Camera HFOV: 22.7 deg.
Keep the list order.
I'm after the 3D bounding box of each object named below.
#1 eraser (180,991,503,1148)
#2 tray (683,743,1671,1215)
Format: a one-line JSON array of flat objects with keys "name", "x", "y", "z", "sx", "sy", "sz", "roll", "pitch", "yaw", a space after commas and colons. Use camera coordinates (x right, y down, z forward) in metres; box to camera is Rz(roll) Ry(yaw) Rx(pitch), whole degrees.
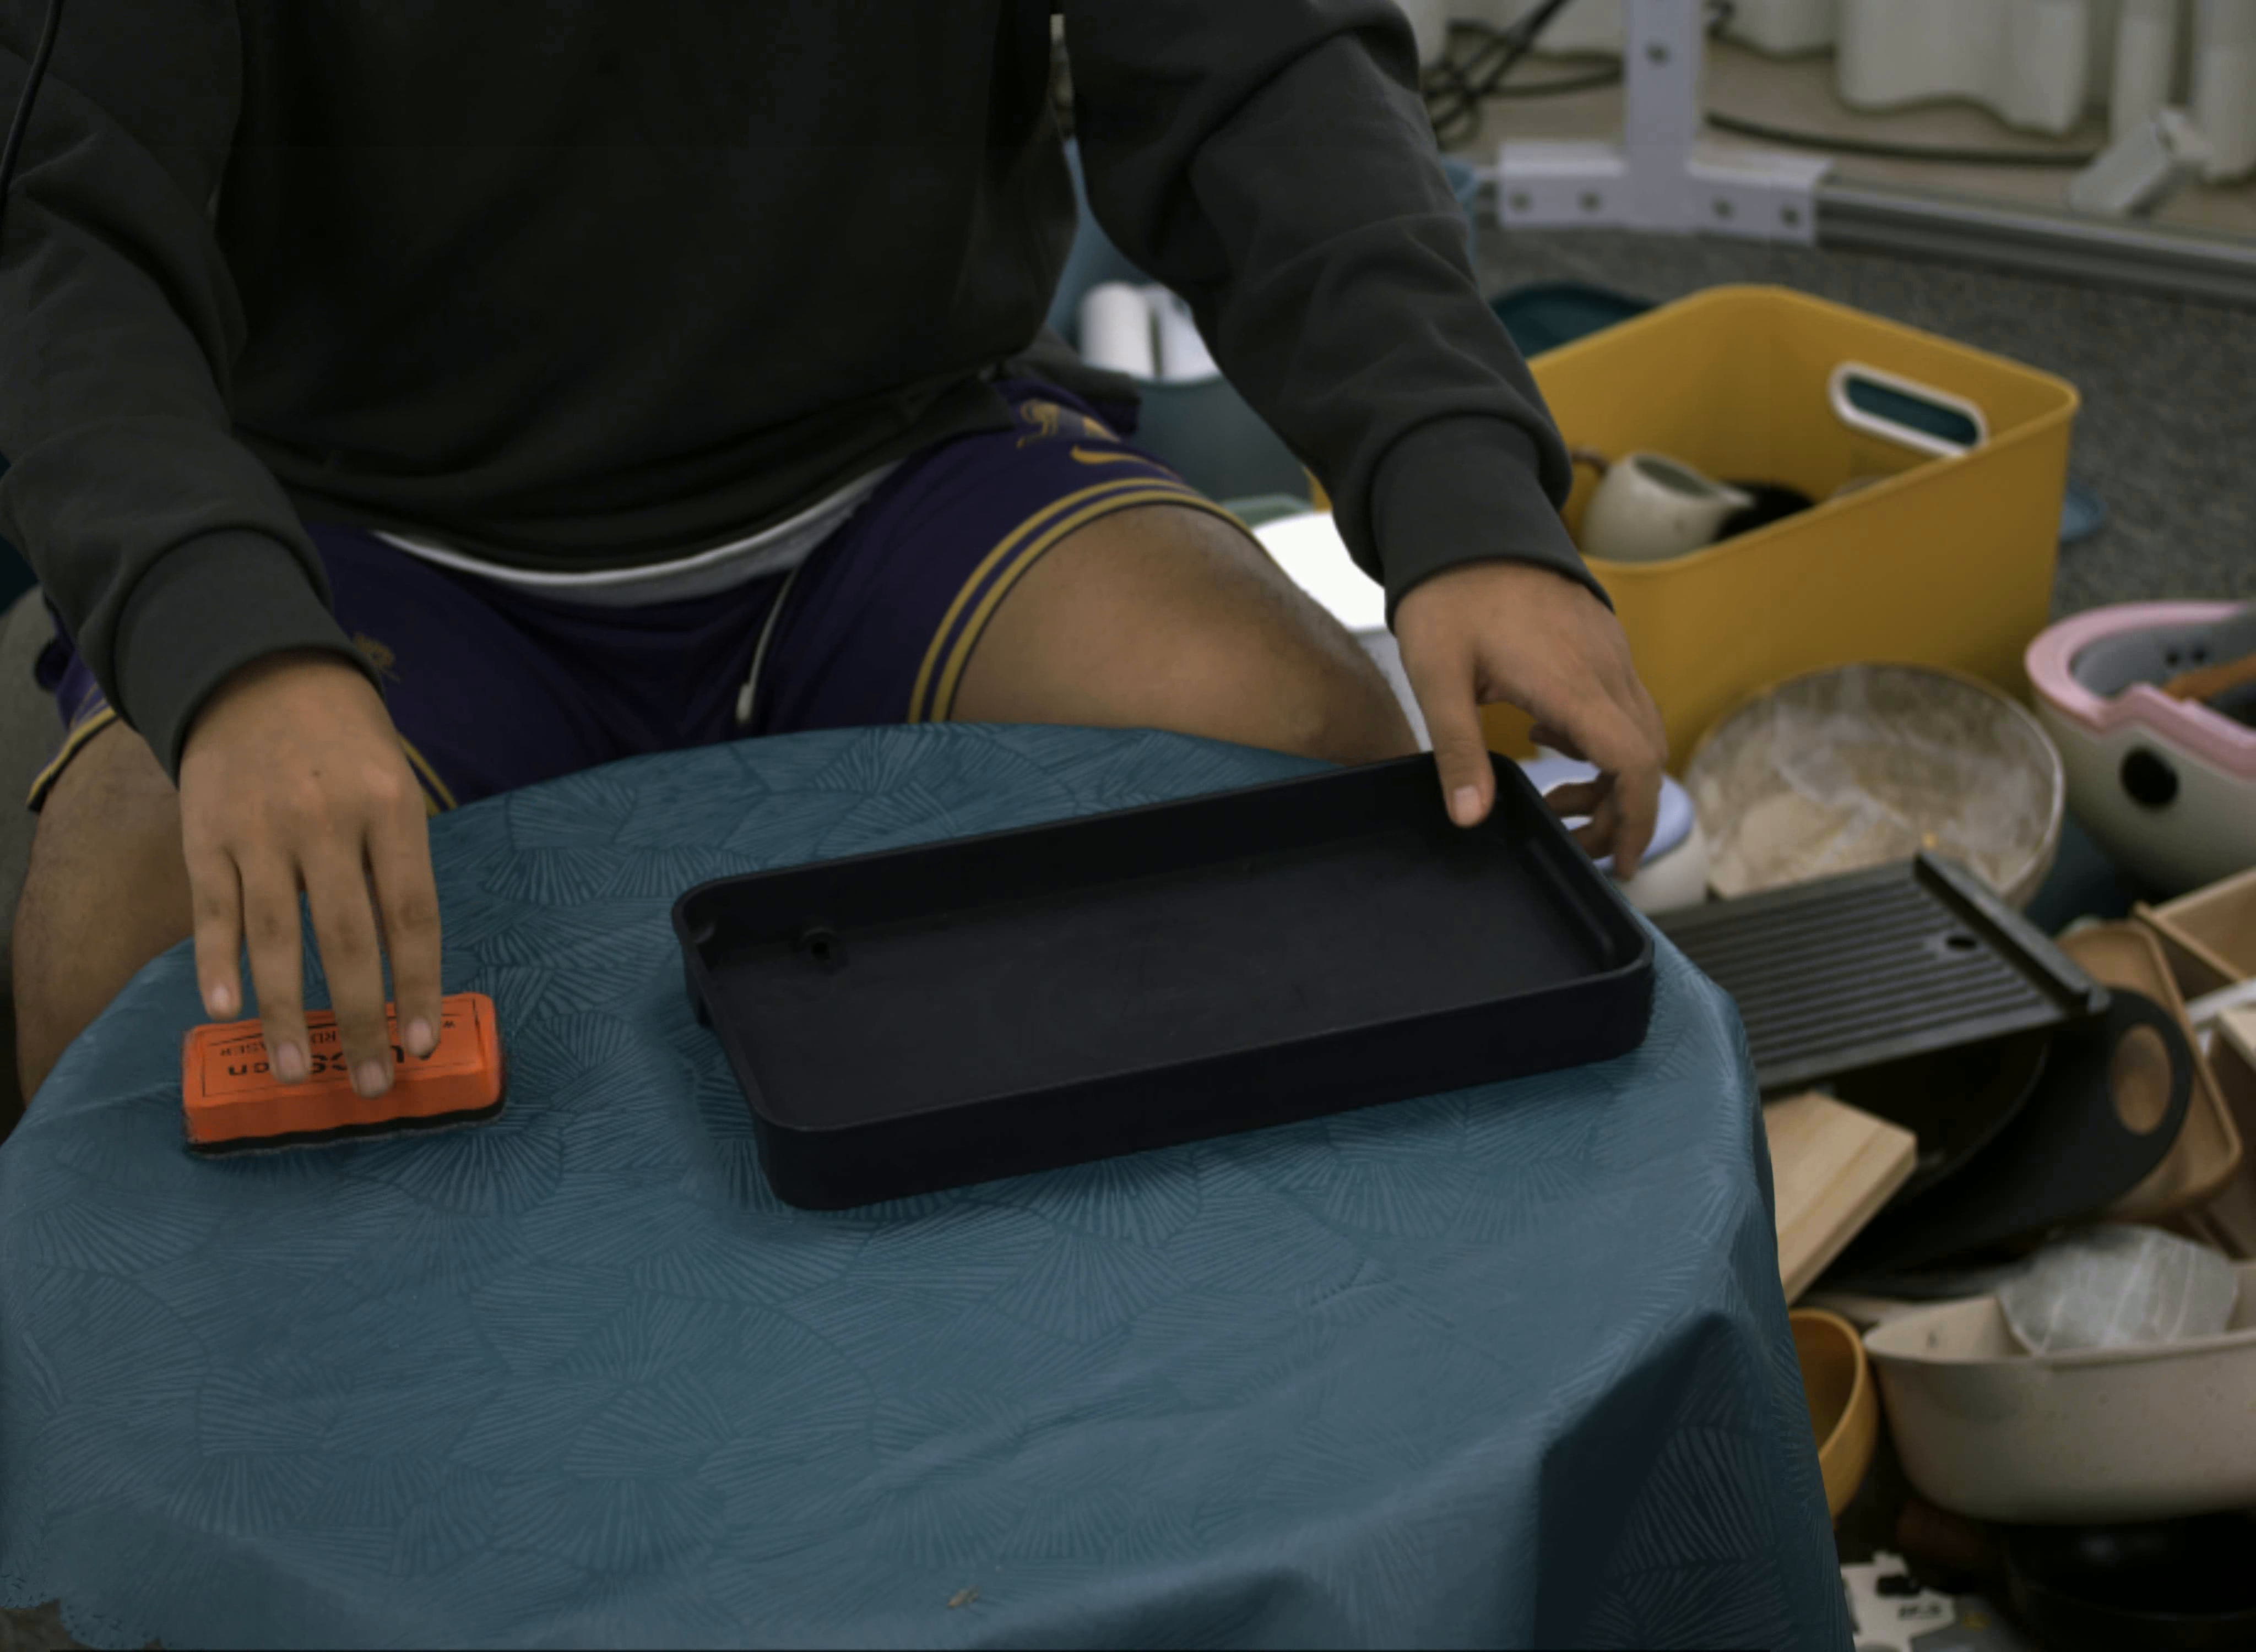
[{"name": "eraser", "x": -0.270, "y": 0.084, "z": 1.930, "sx": 0.108, "sy": 0.023, "sz": 0.059, "roll": -8, "pitch": 20, "yaw": -7}, {"name": "tray", "x": 0.015, "y": 0.050, "z": 1.963, "sx": 0.318, "sy": 0.036, "sz": 0.186, "roll": -11, "pitch": 28, "yaw": -14}]
